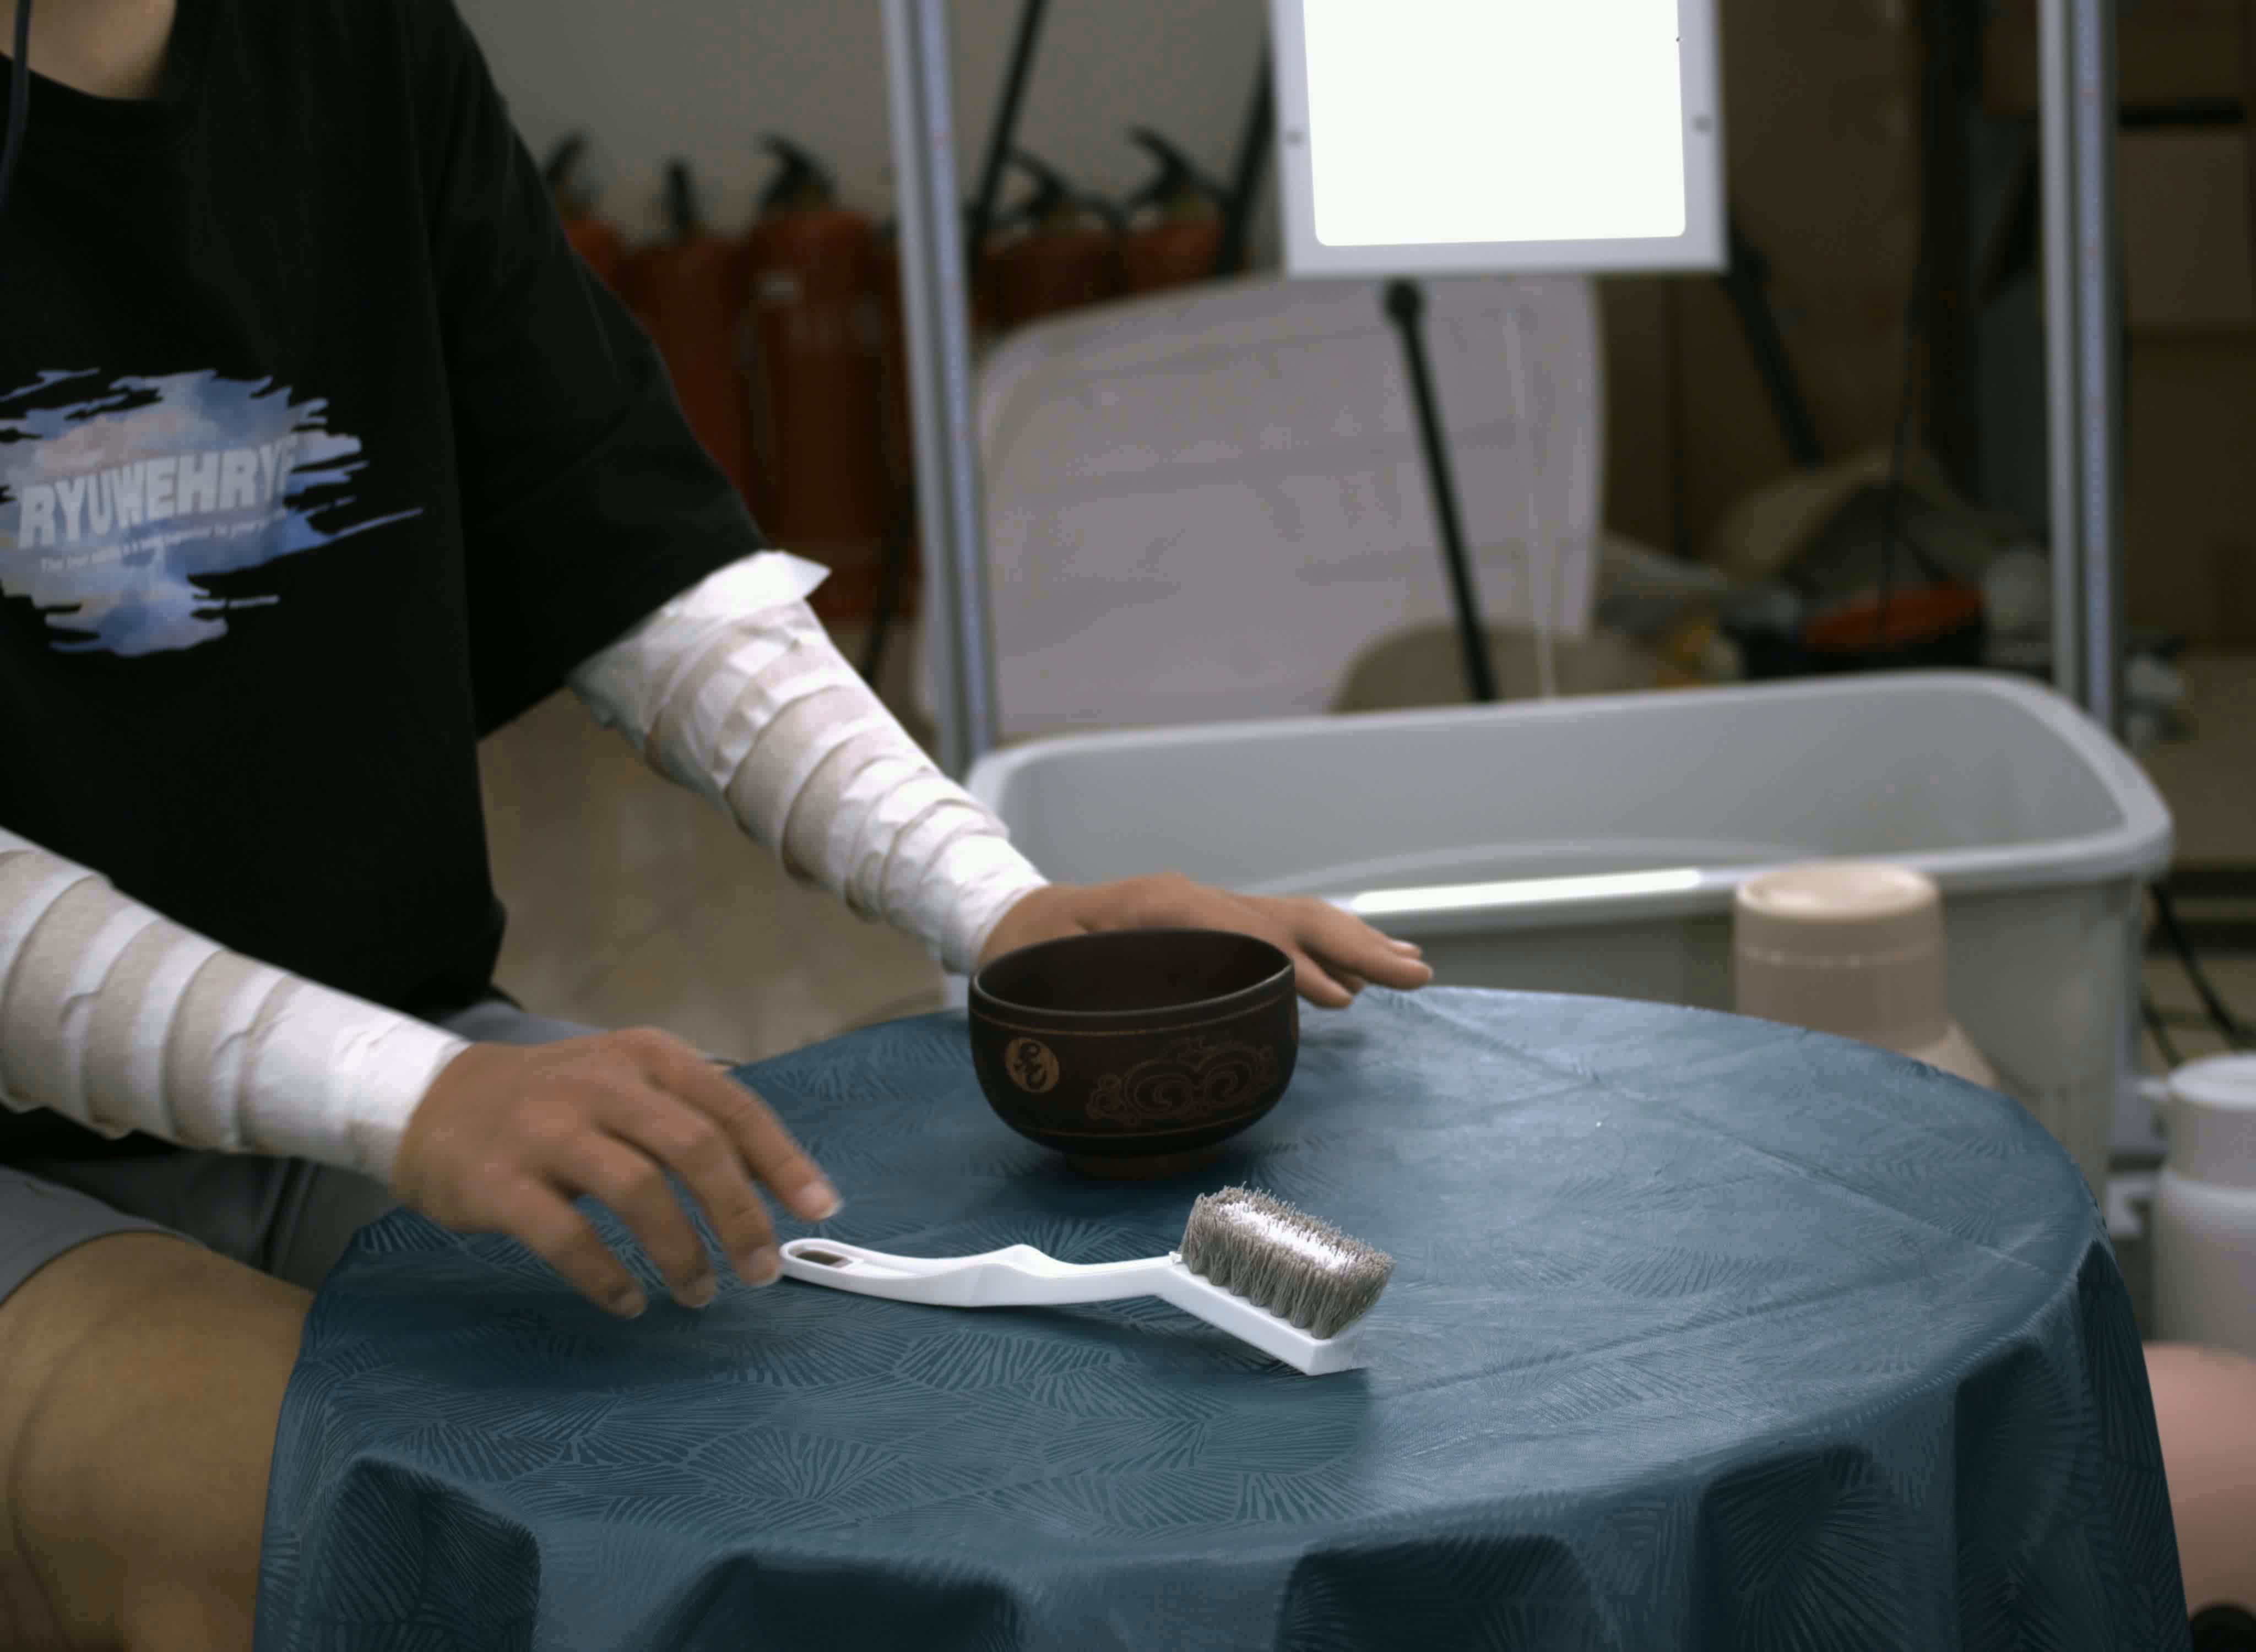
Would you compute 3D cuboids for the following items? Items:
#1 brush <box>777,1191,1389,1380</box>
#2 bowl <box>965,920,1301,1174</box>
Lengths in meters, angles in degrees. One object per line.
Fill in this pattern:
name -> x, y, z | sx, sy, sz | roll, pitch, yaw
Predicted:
brush -> -0.020, 0.133, 1.769 | 0.249, 0.050, 0.033 | 8, 17, 40
bowl -> 0.004, 0.081, 1.930 | 0.118, 0.070, 0.118 | -7, 14, 0
